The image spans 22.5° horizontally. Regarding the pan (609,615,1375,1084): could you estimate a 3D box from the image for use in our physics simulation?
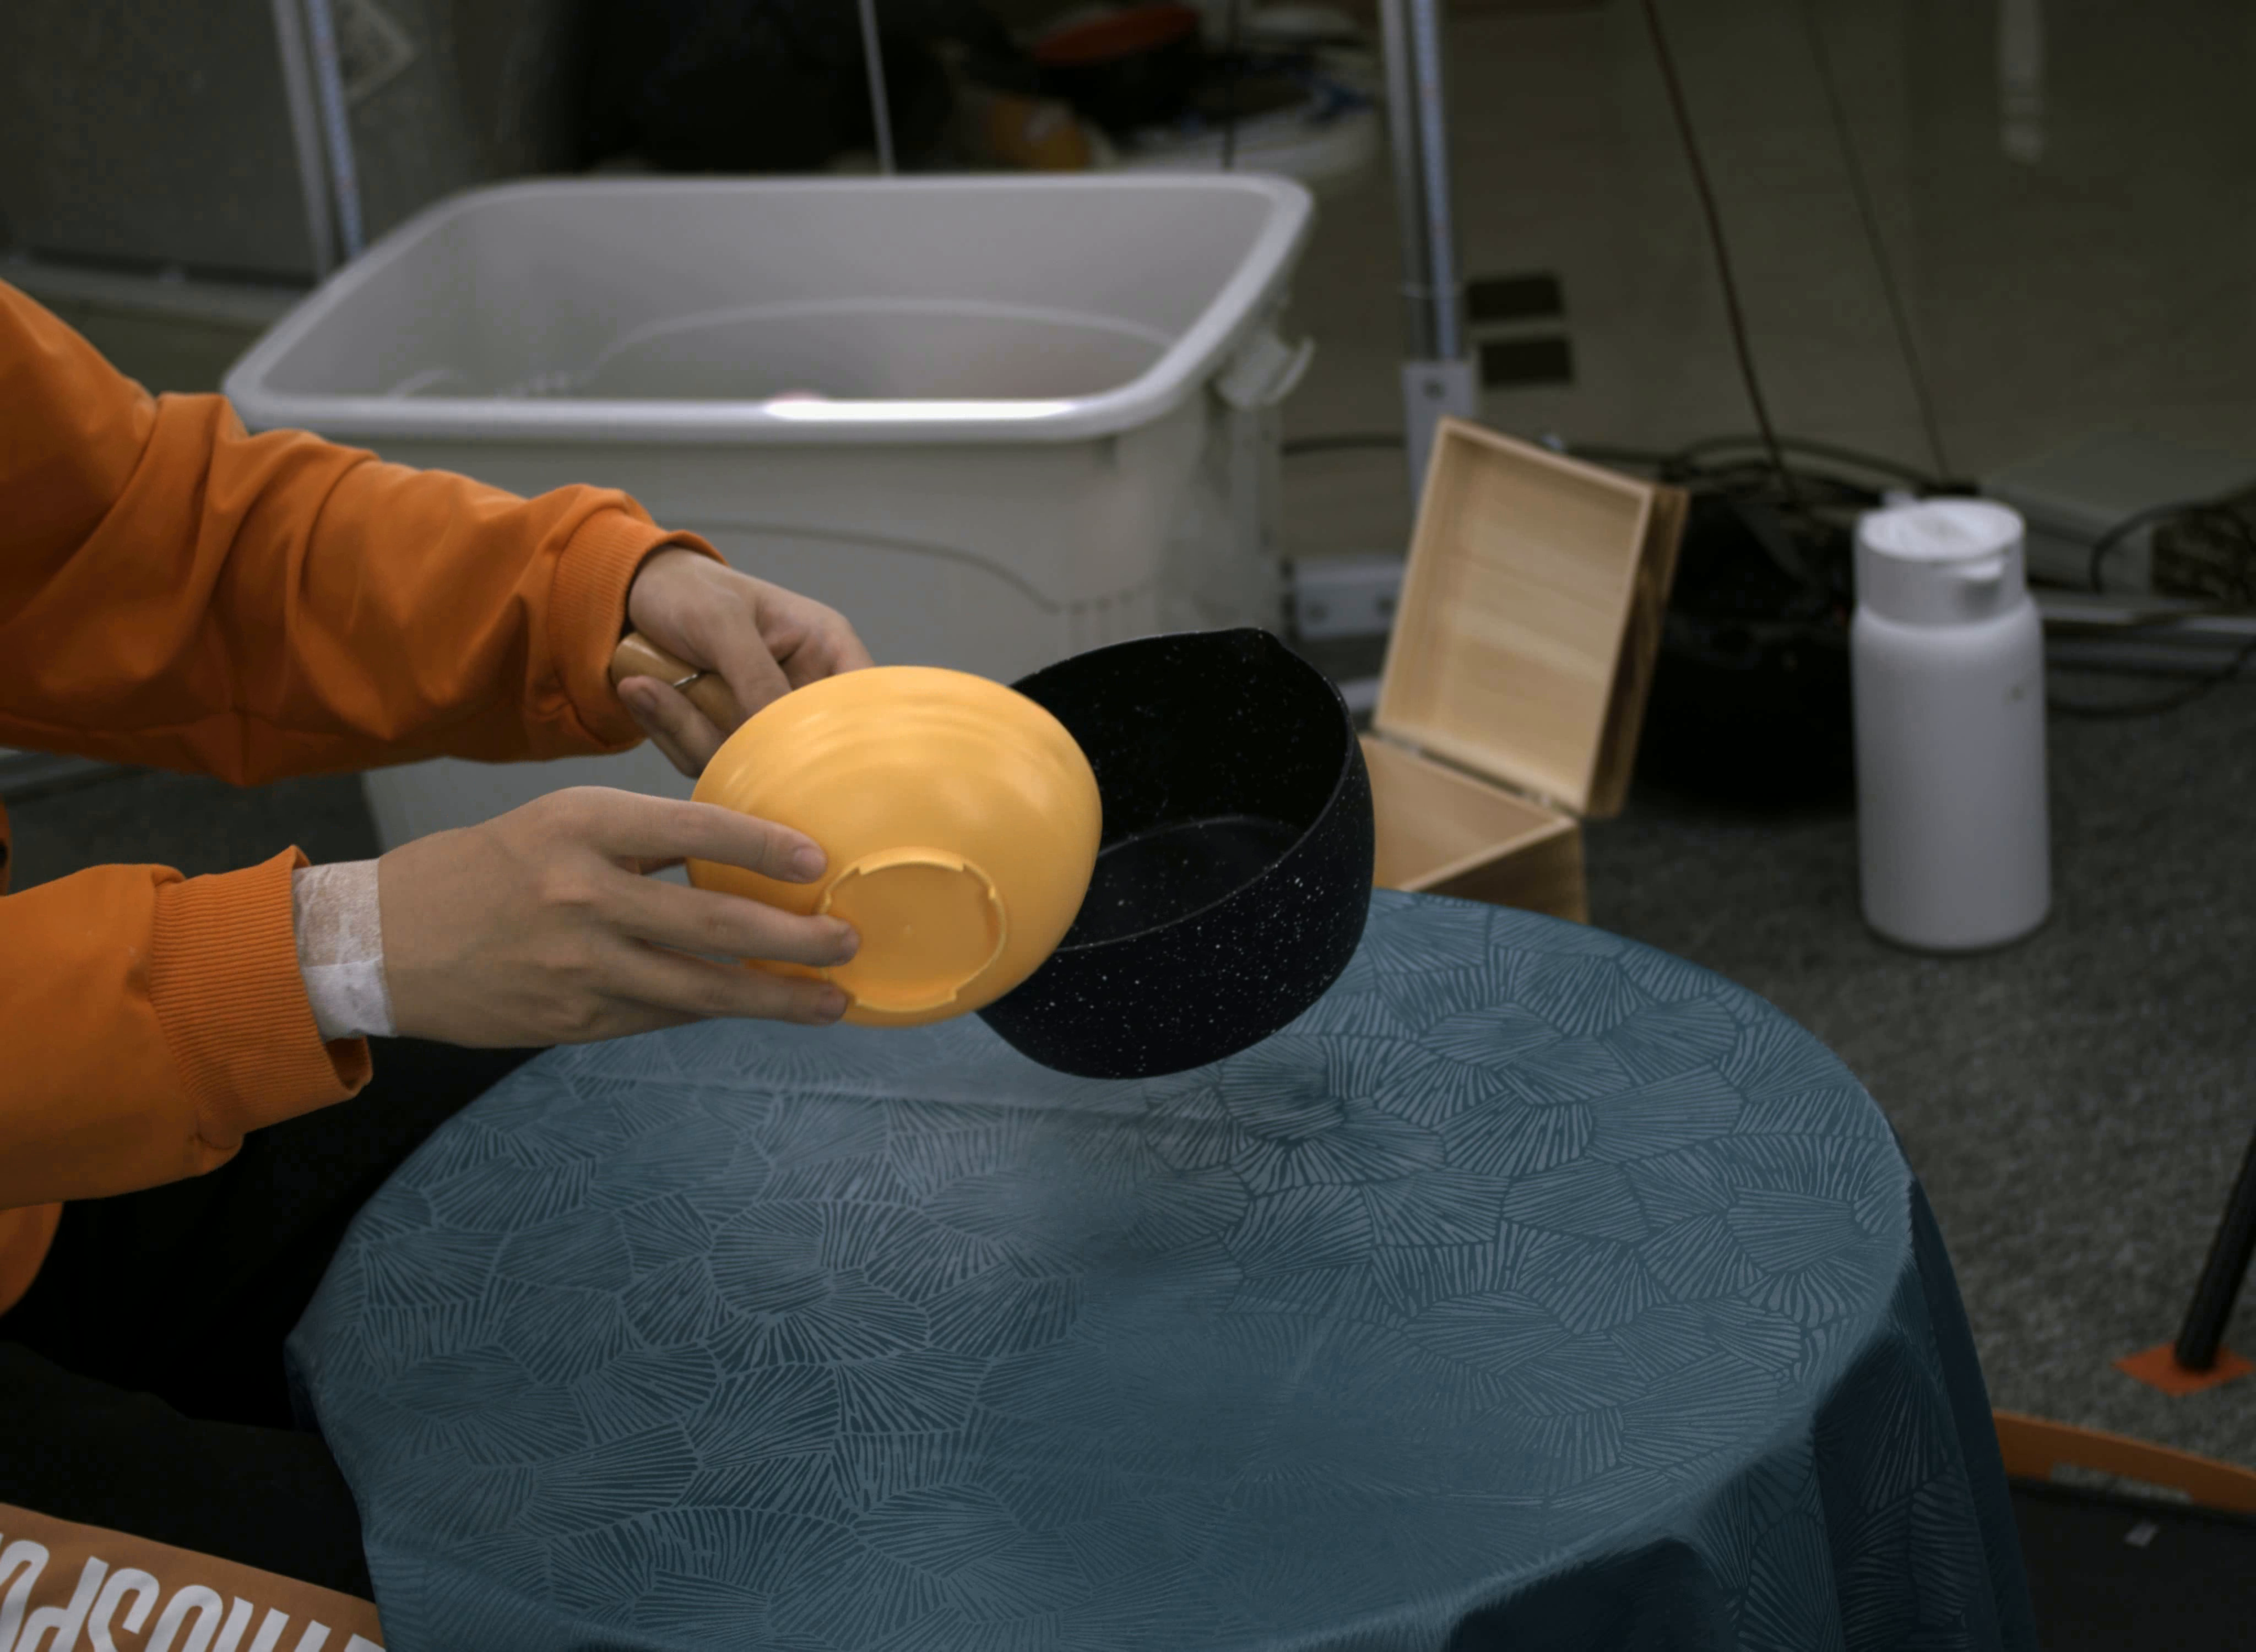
[{"bbox_3d":[-0.059,-0.005,2.192,0.341,0.110,0.205,13,50,35],"label":"pan"}]

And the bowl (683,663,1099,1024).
[{"bbox_3d":[-0.078,0.019,1.932,0.145,0.148,0.059,-8,39,-3],"label":"bowl"}]
